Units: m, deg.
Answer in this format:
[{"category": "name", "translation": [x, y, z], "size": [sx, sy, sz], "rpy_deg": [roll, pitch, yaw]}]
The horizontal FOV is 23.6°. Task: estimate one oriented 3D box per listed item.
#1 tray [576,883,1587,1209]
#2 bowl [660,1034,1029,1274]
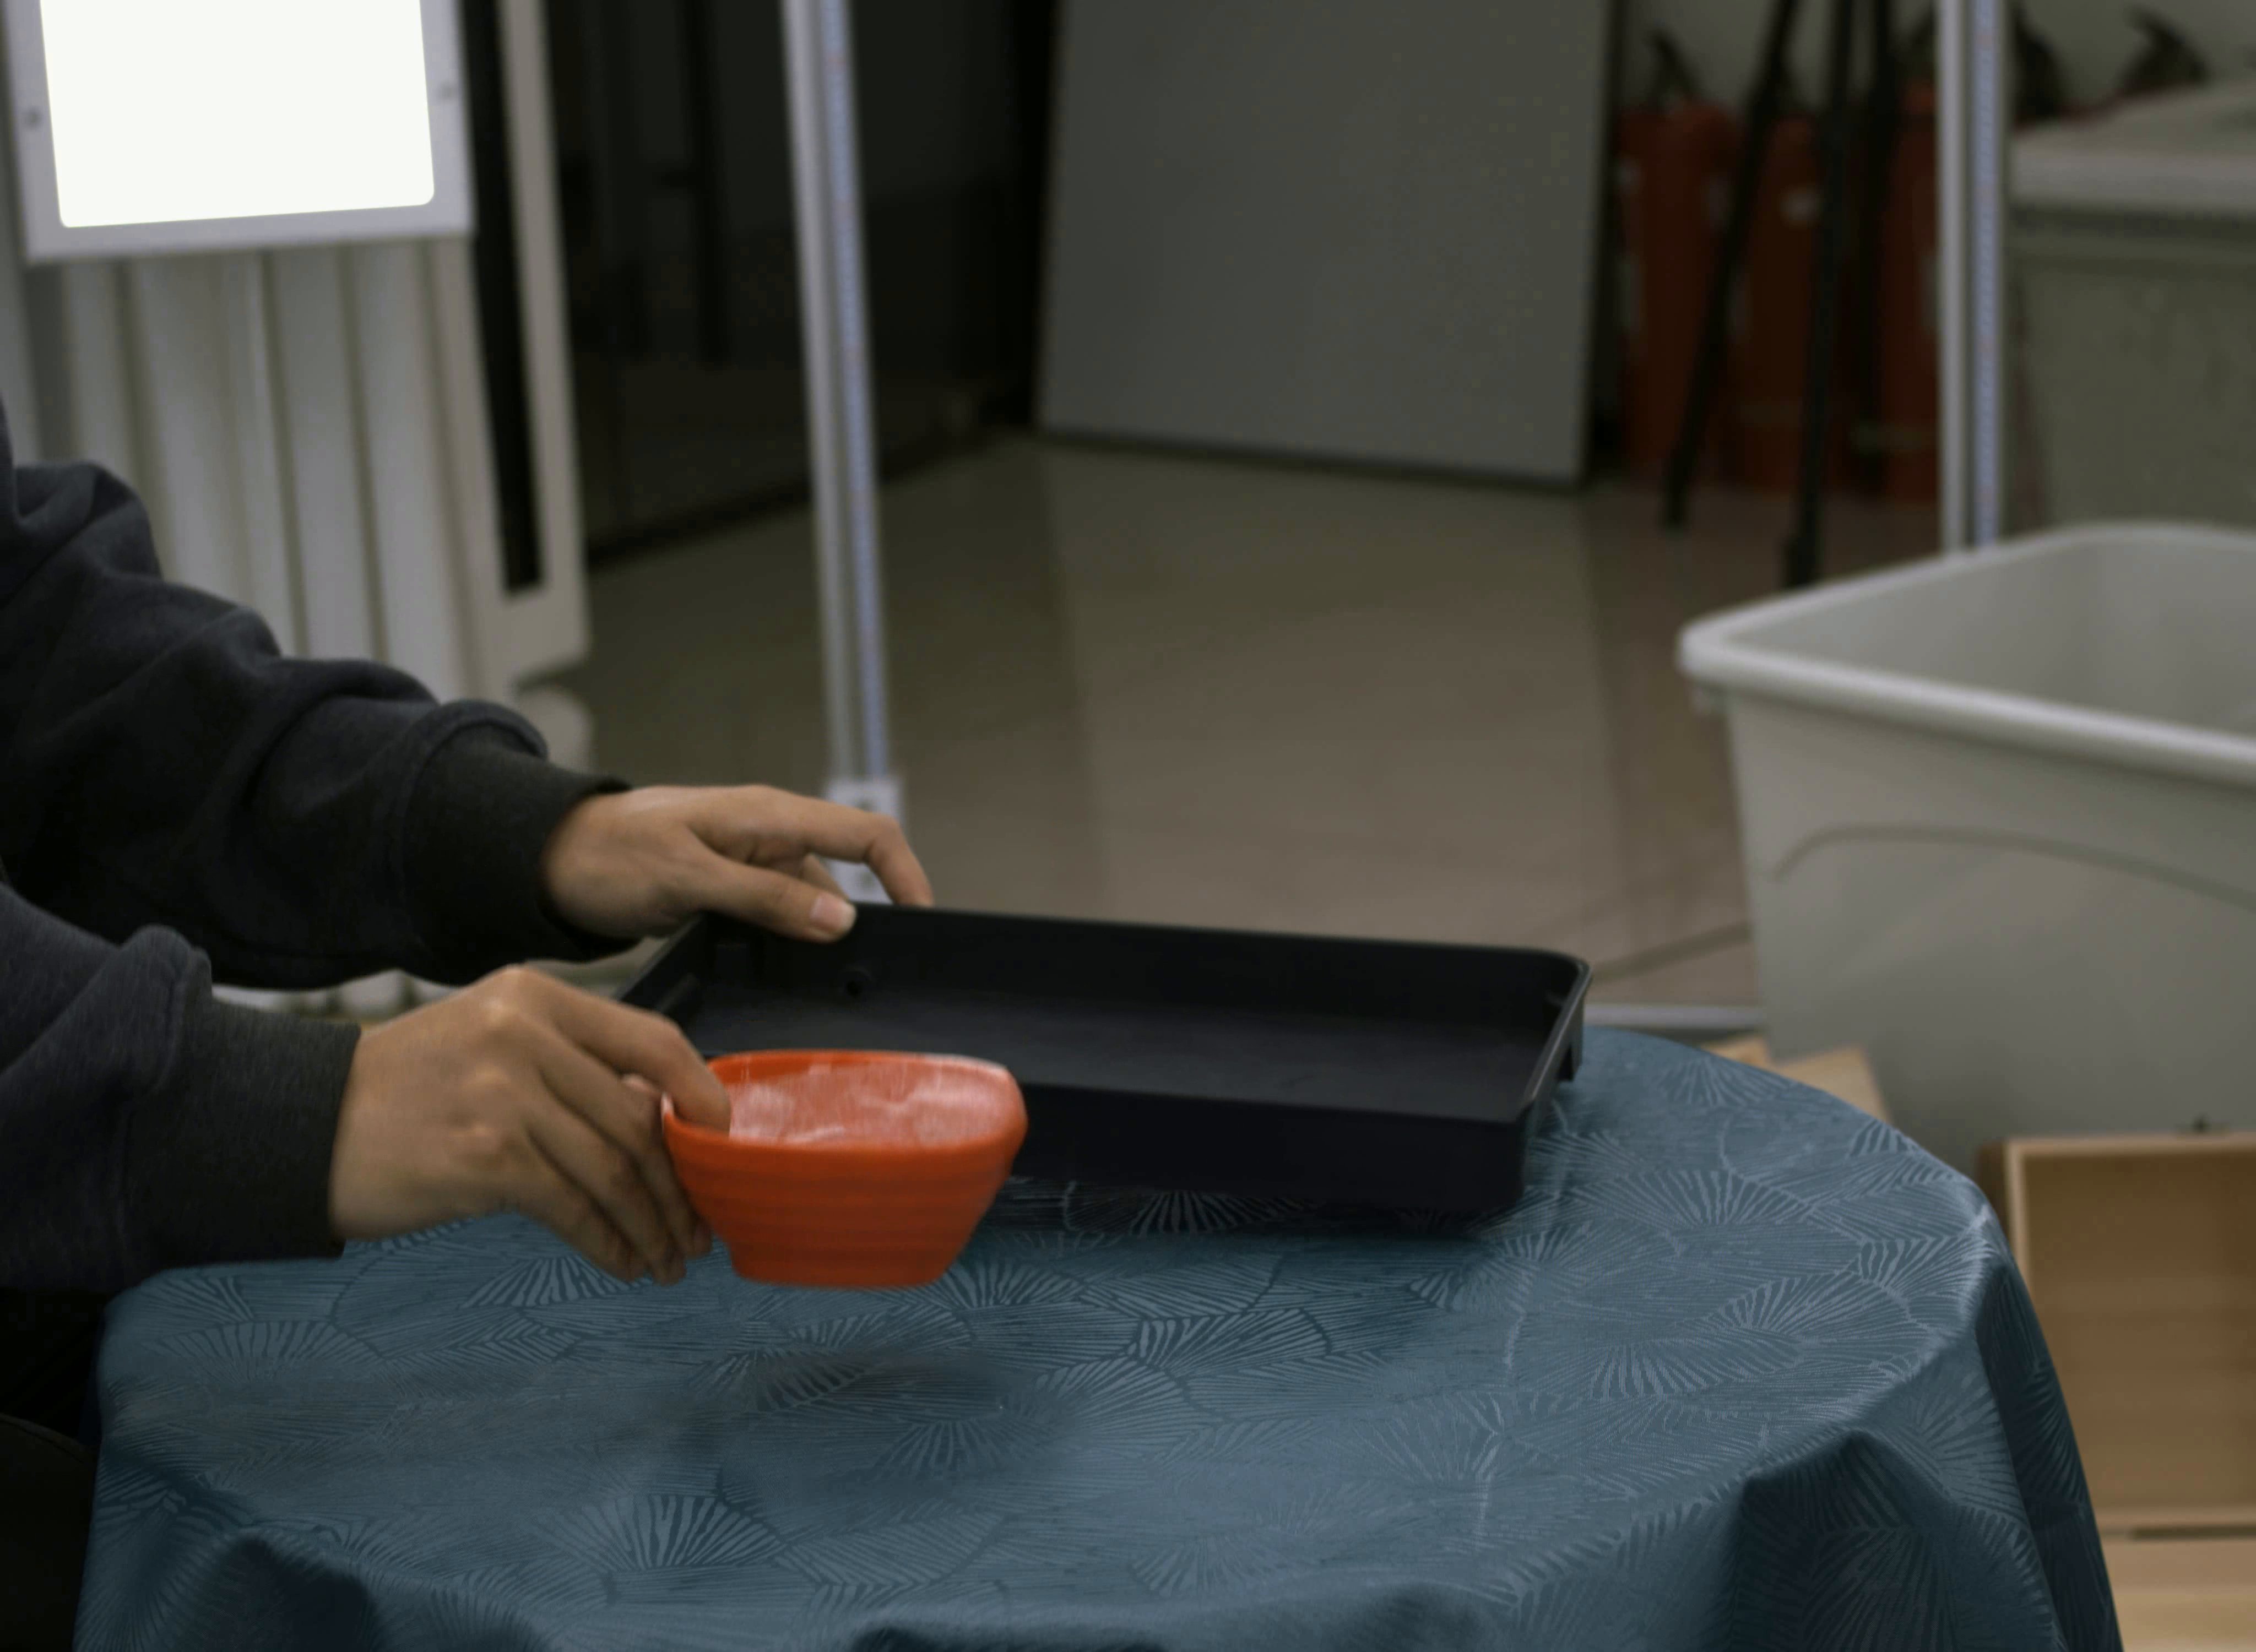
[{"category": "tray", "translation": [-0.012, 0.071, 1.798], "size": [0.316, 0.037, 0.183], "rpy_deg": [4, 15, 13]}, {"category": "bowl", "translation": [-0.084, 0.099, 1.598], "size": [0.117, 0.052, 0.119], "rpy_deg": [2, 11, -1]}]
